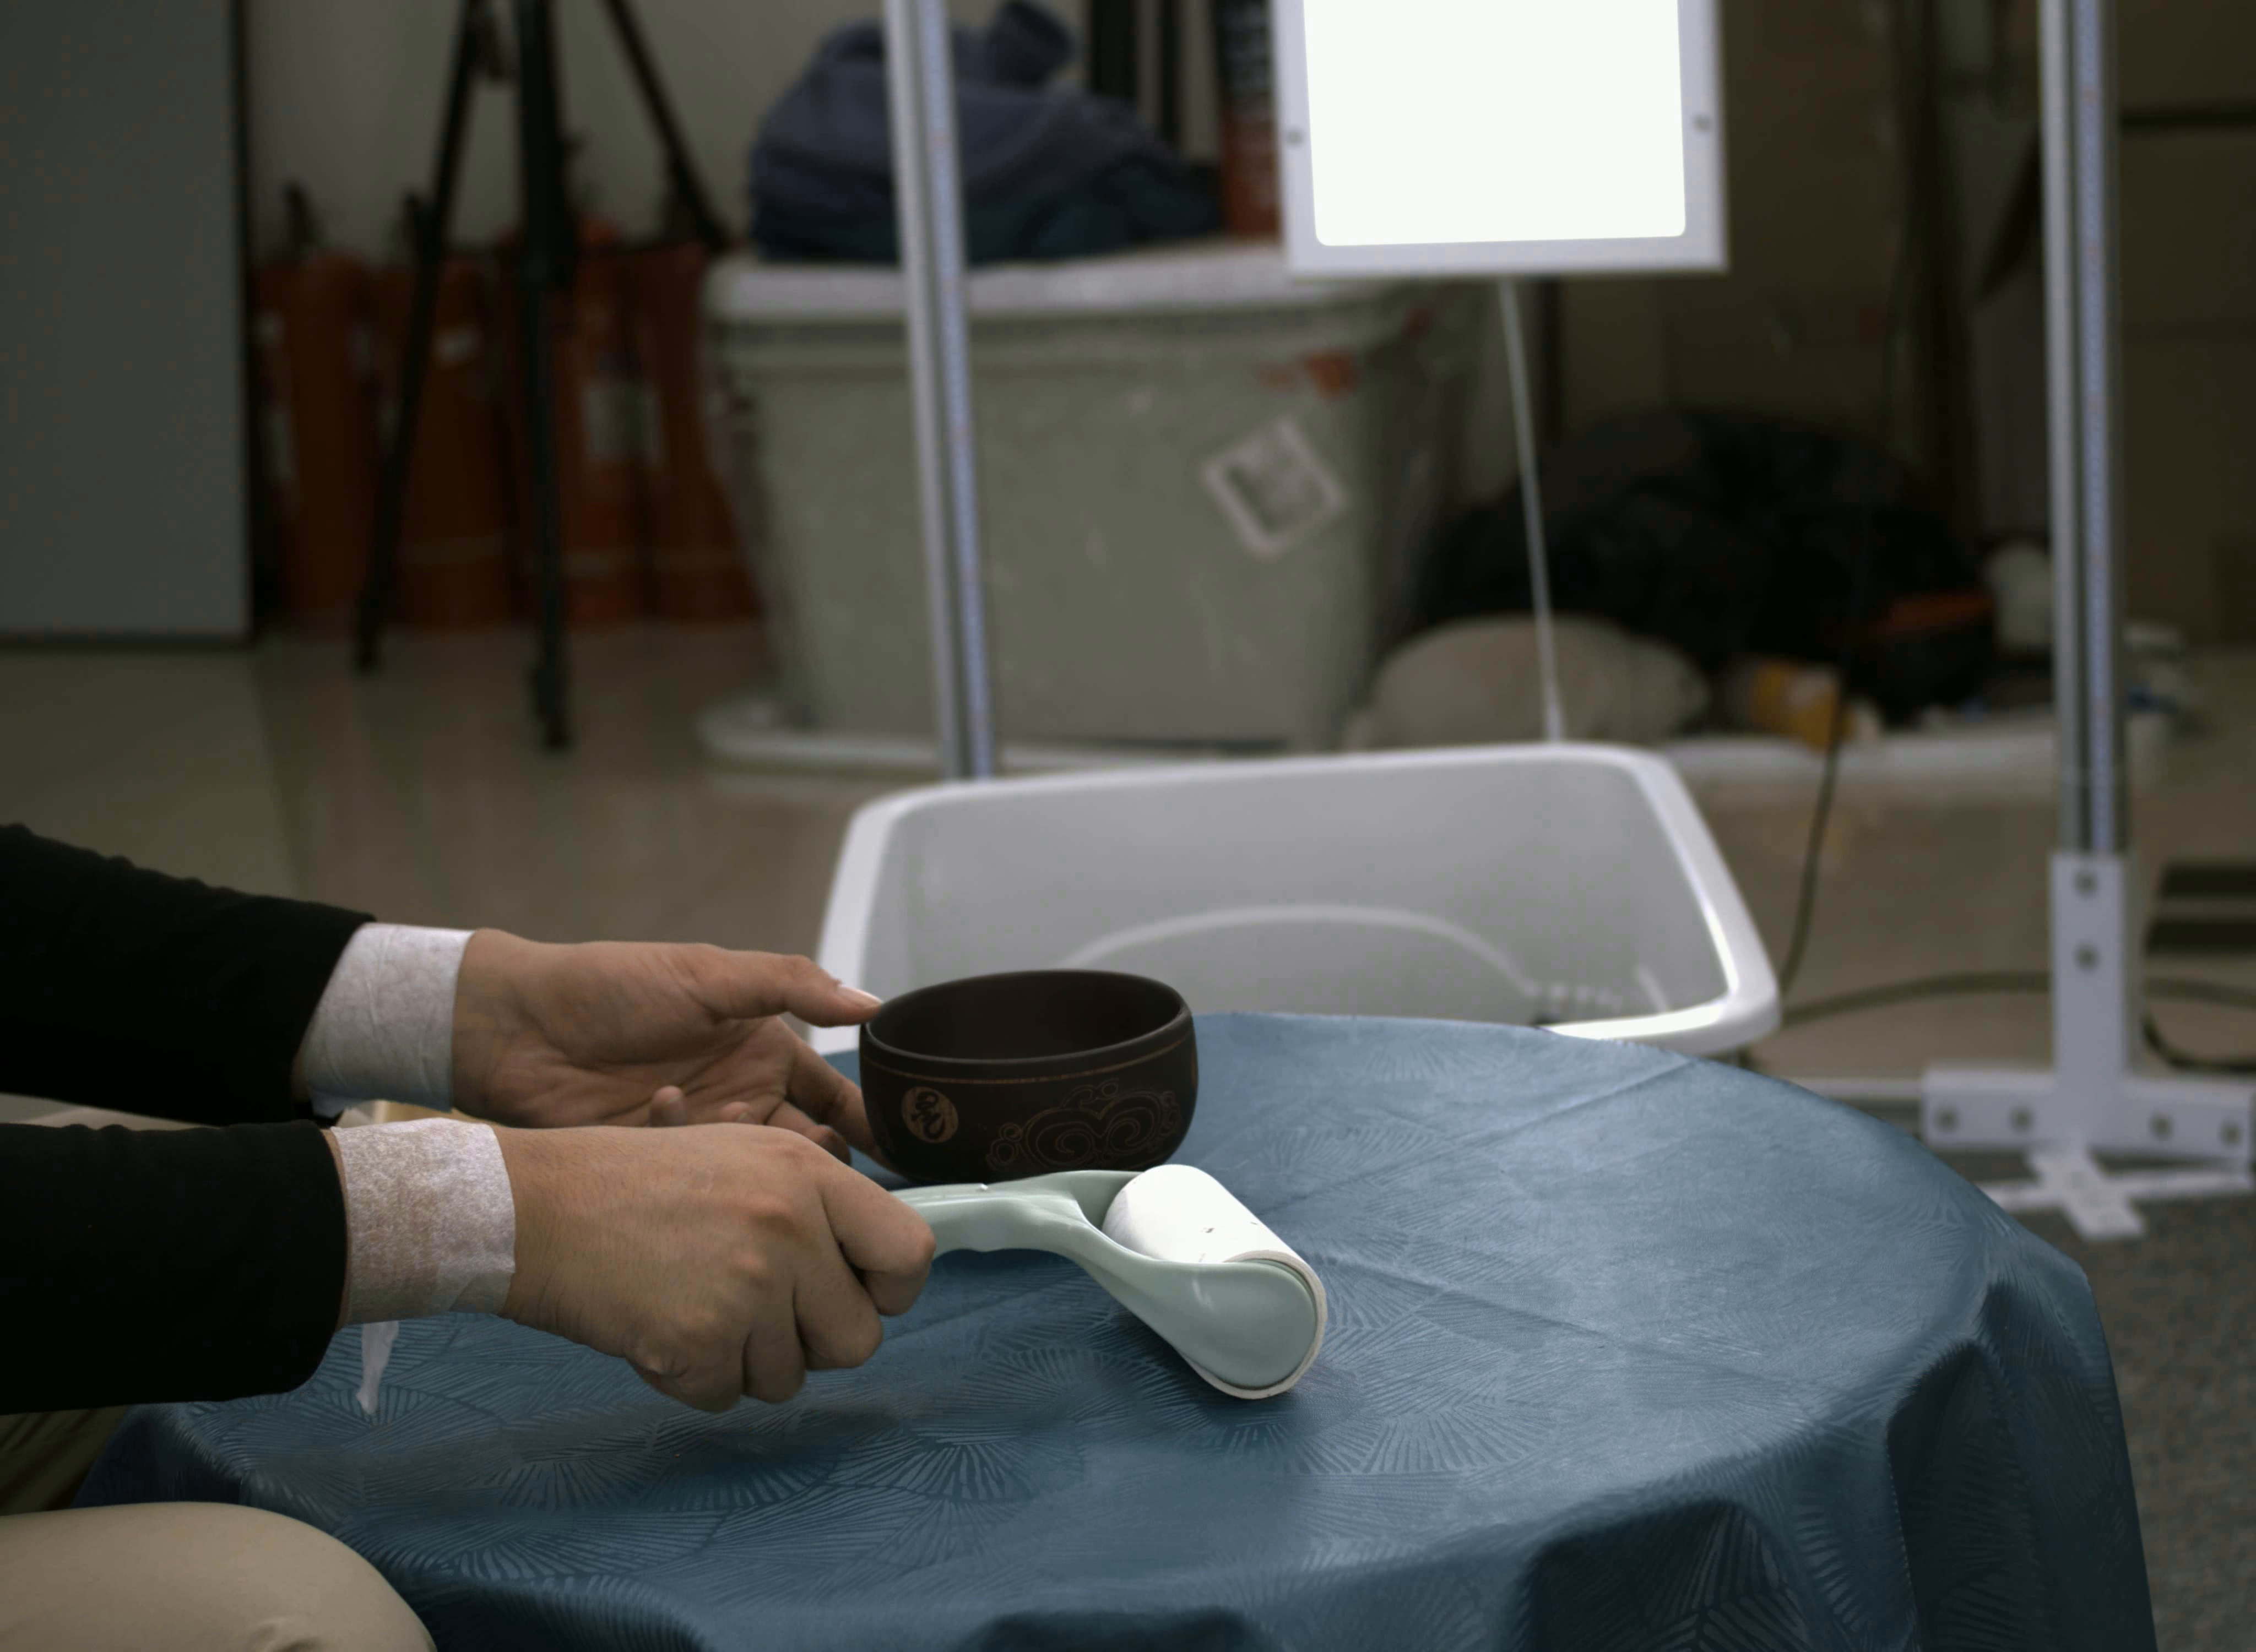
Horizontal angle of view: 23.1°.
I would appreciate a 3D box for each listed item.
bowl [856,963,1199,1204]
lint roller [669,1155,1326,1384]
[{"bbox_3d":[-0.033,0.096,1.885,0.118,0.070,0.118,-6,15,0],"label":"bowl"},{"bbox_3d":[-0.046,0.135,1.714,0.195,0.049,0.117,3,12,-15],"label":"lint roller"}]
